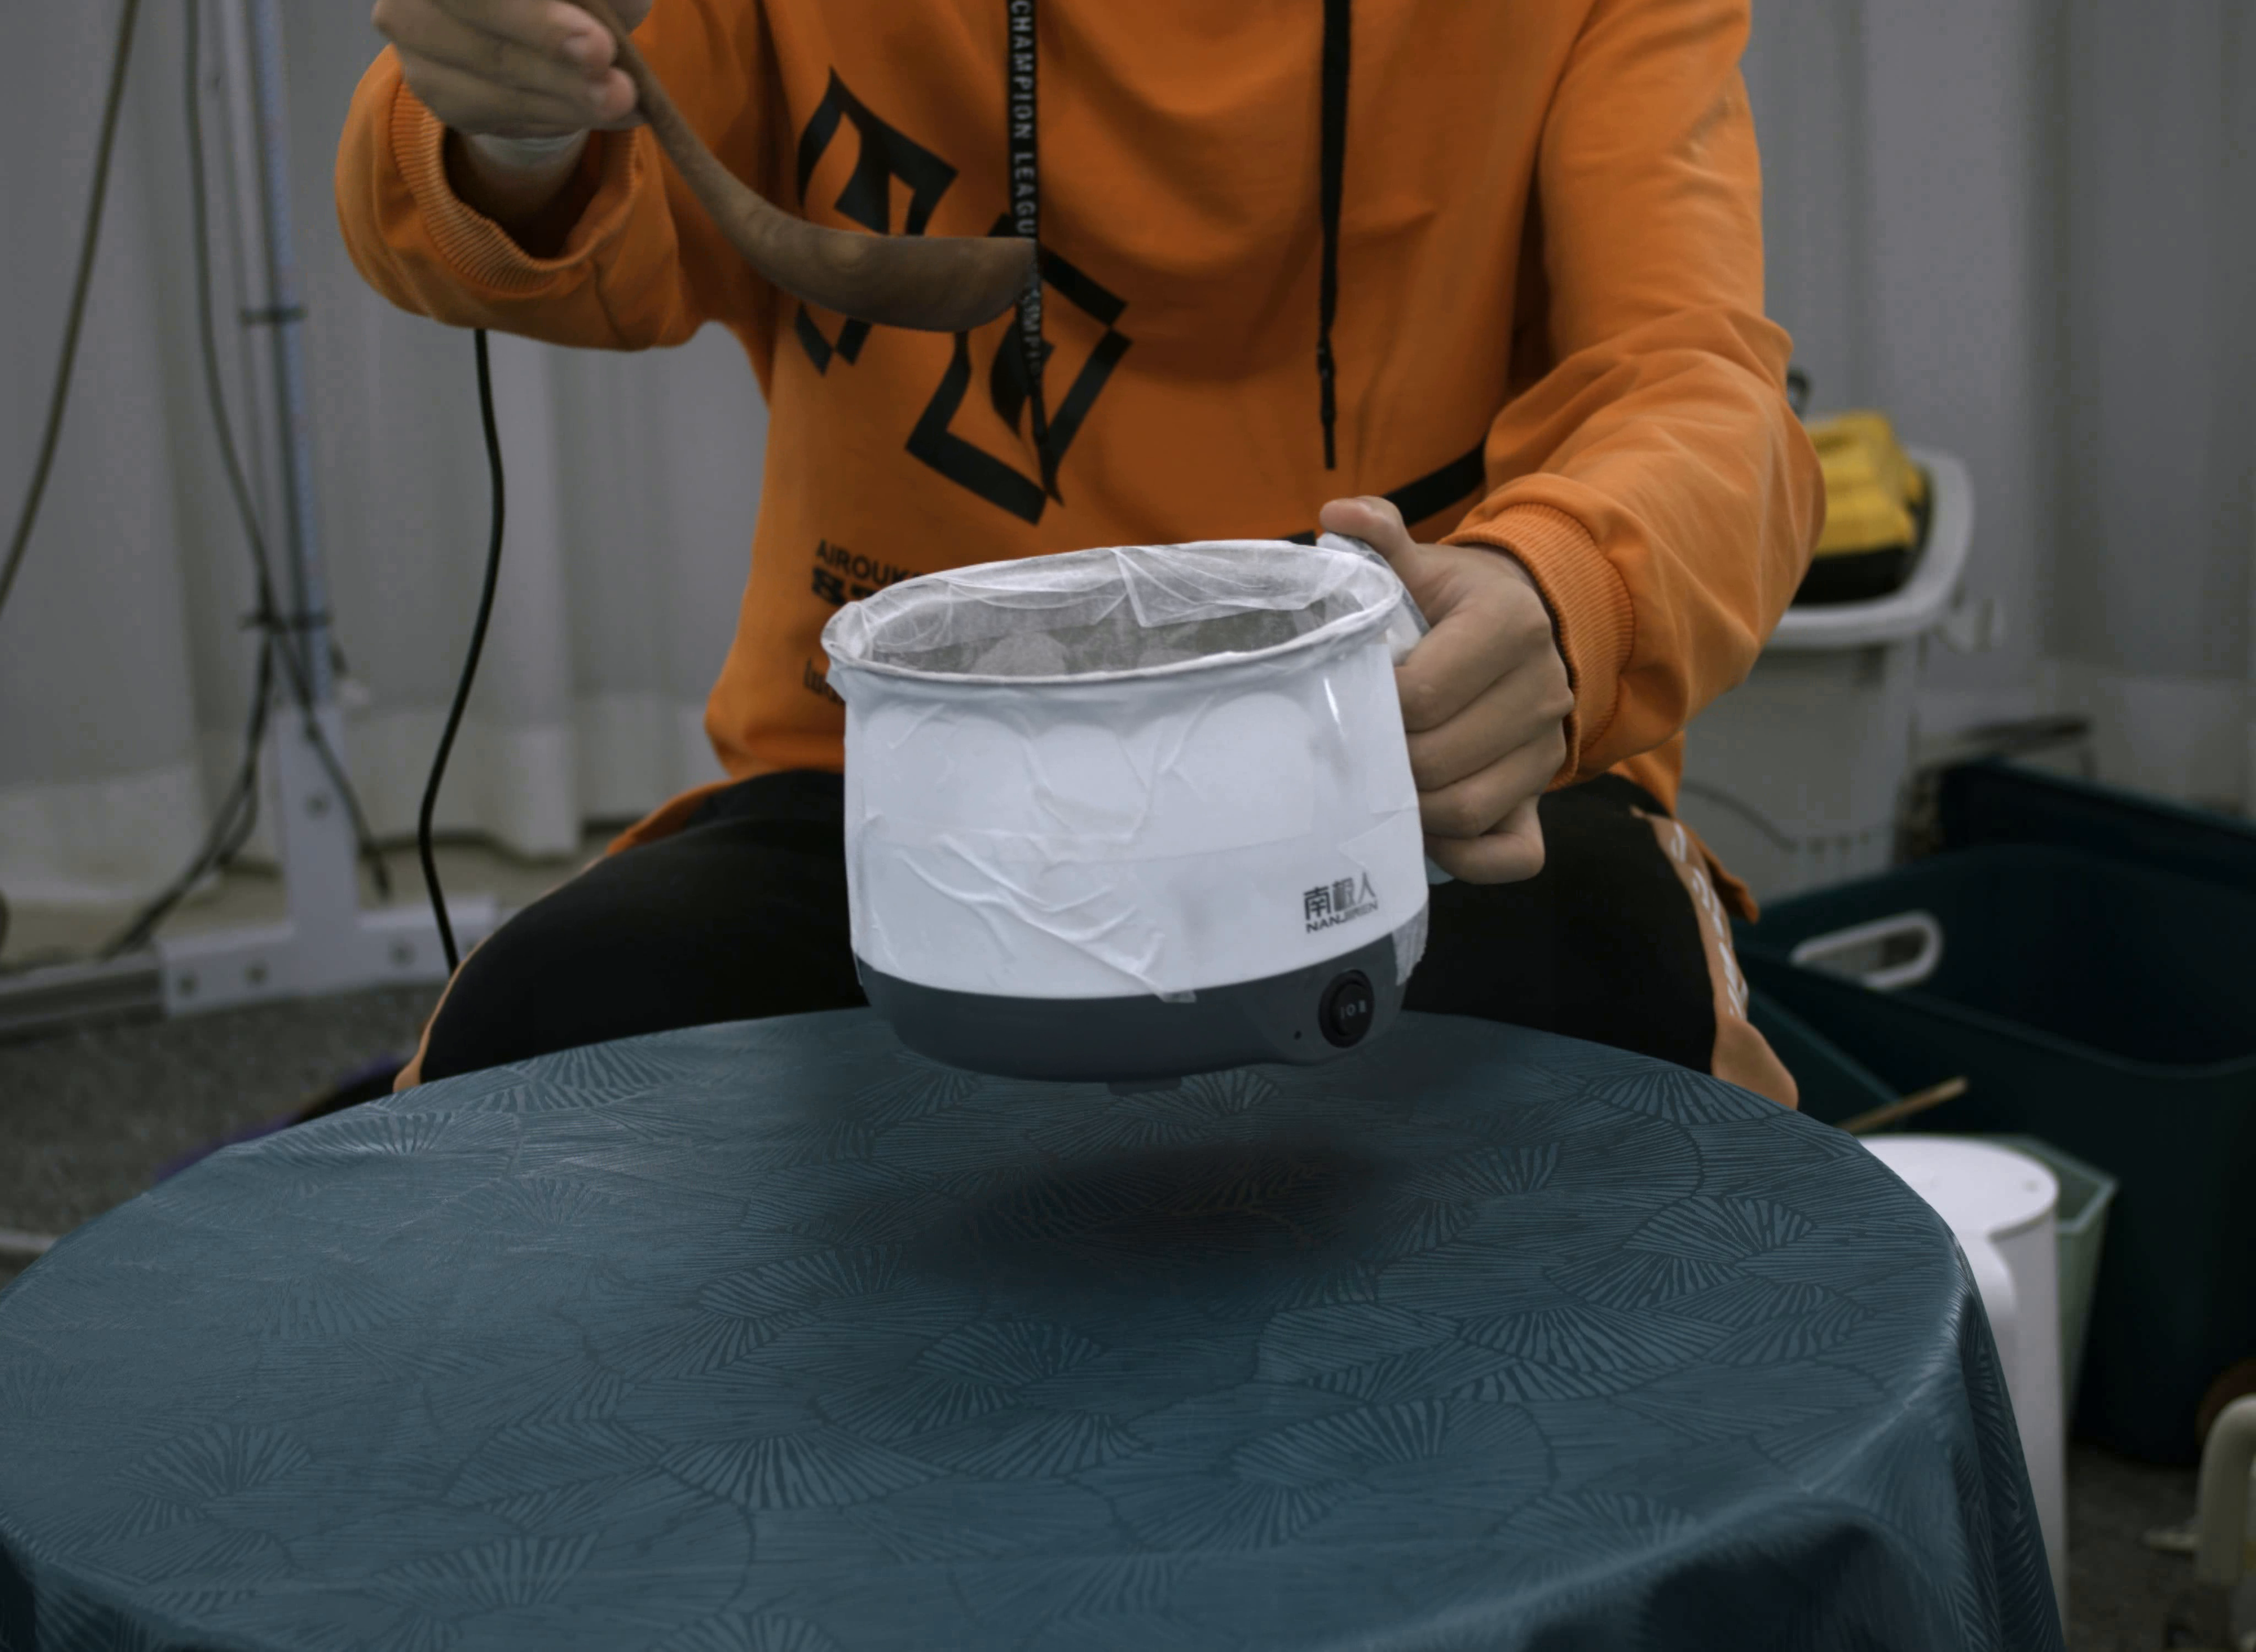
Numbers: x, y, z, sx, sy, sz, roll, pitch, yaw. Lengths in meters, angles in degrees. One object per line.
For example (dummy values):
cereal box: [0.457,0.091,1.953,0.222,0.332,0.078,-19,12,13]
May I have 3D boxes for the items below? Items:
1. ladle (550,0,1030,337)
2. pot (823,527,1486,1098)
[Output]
ladle: [-0.138,-0.234,1.625,0.065,0.260,0.076,-46,0,-2]
pot: [0.020,-0.011,1.682,0.179,0.136,0.233,10,21,43]
